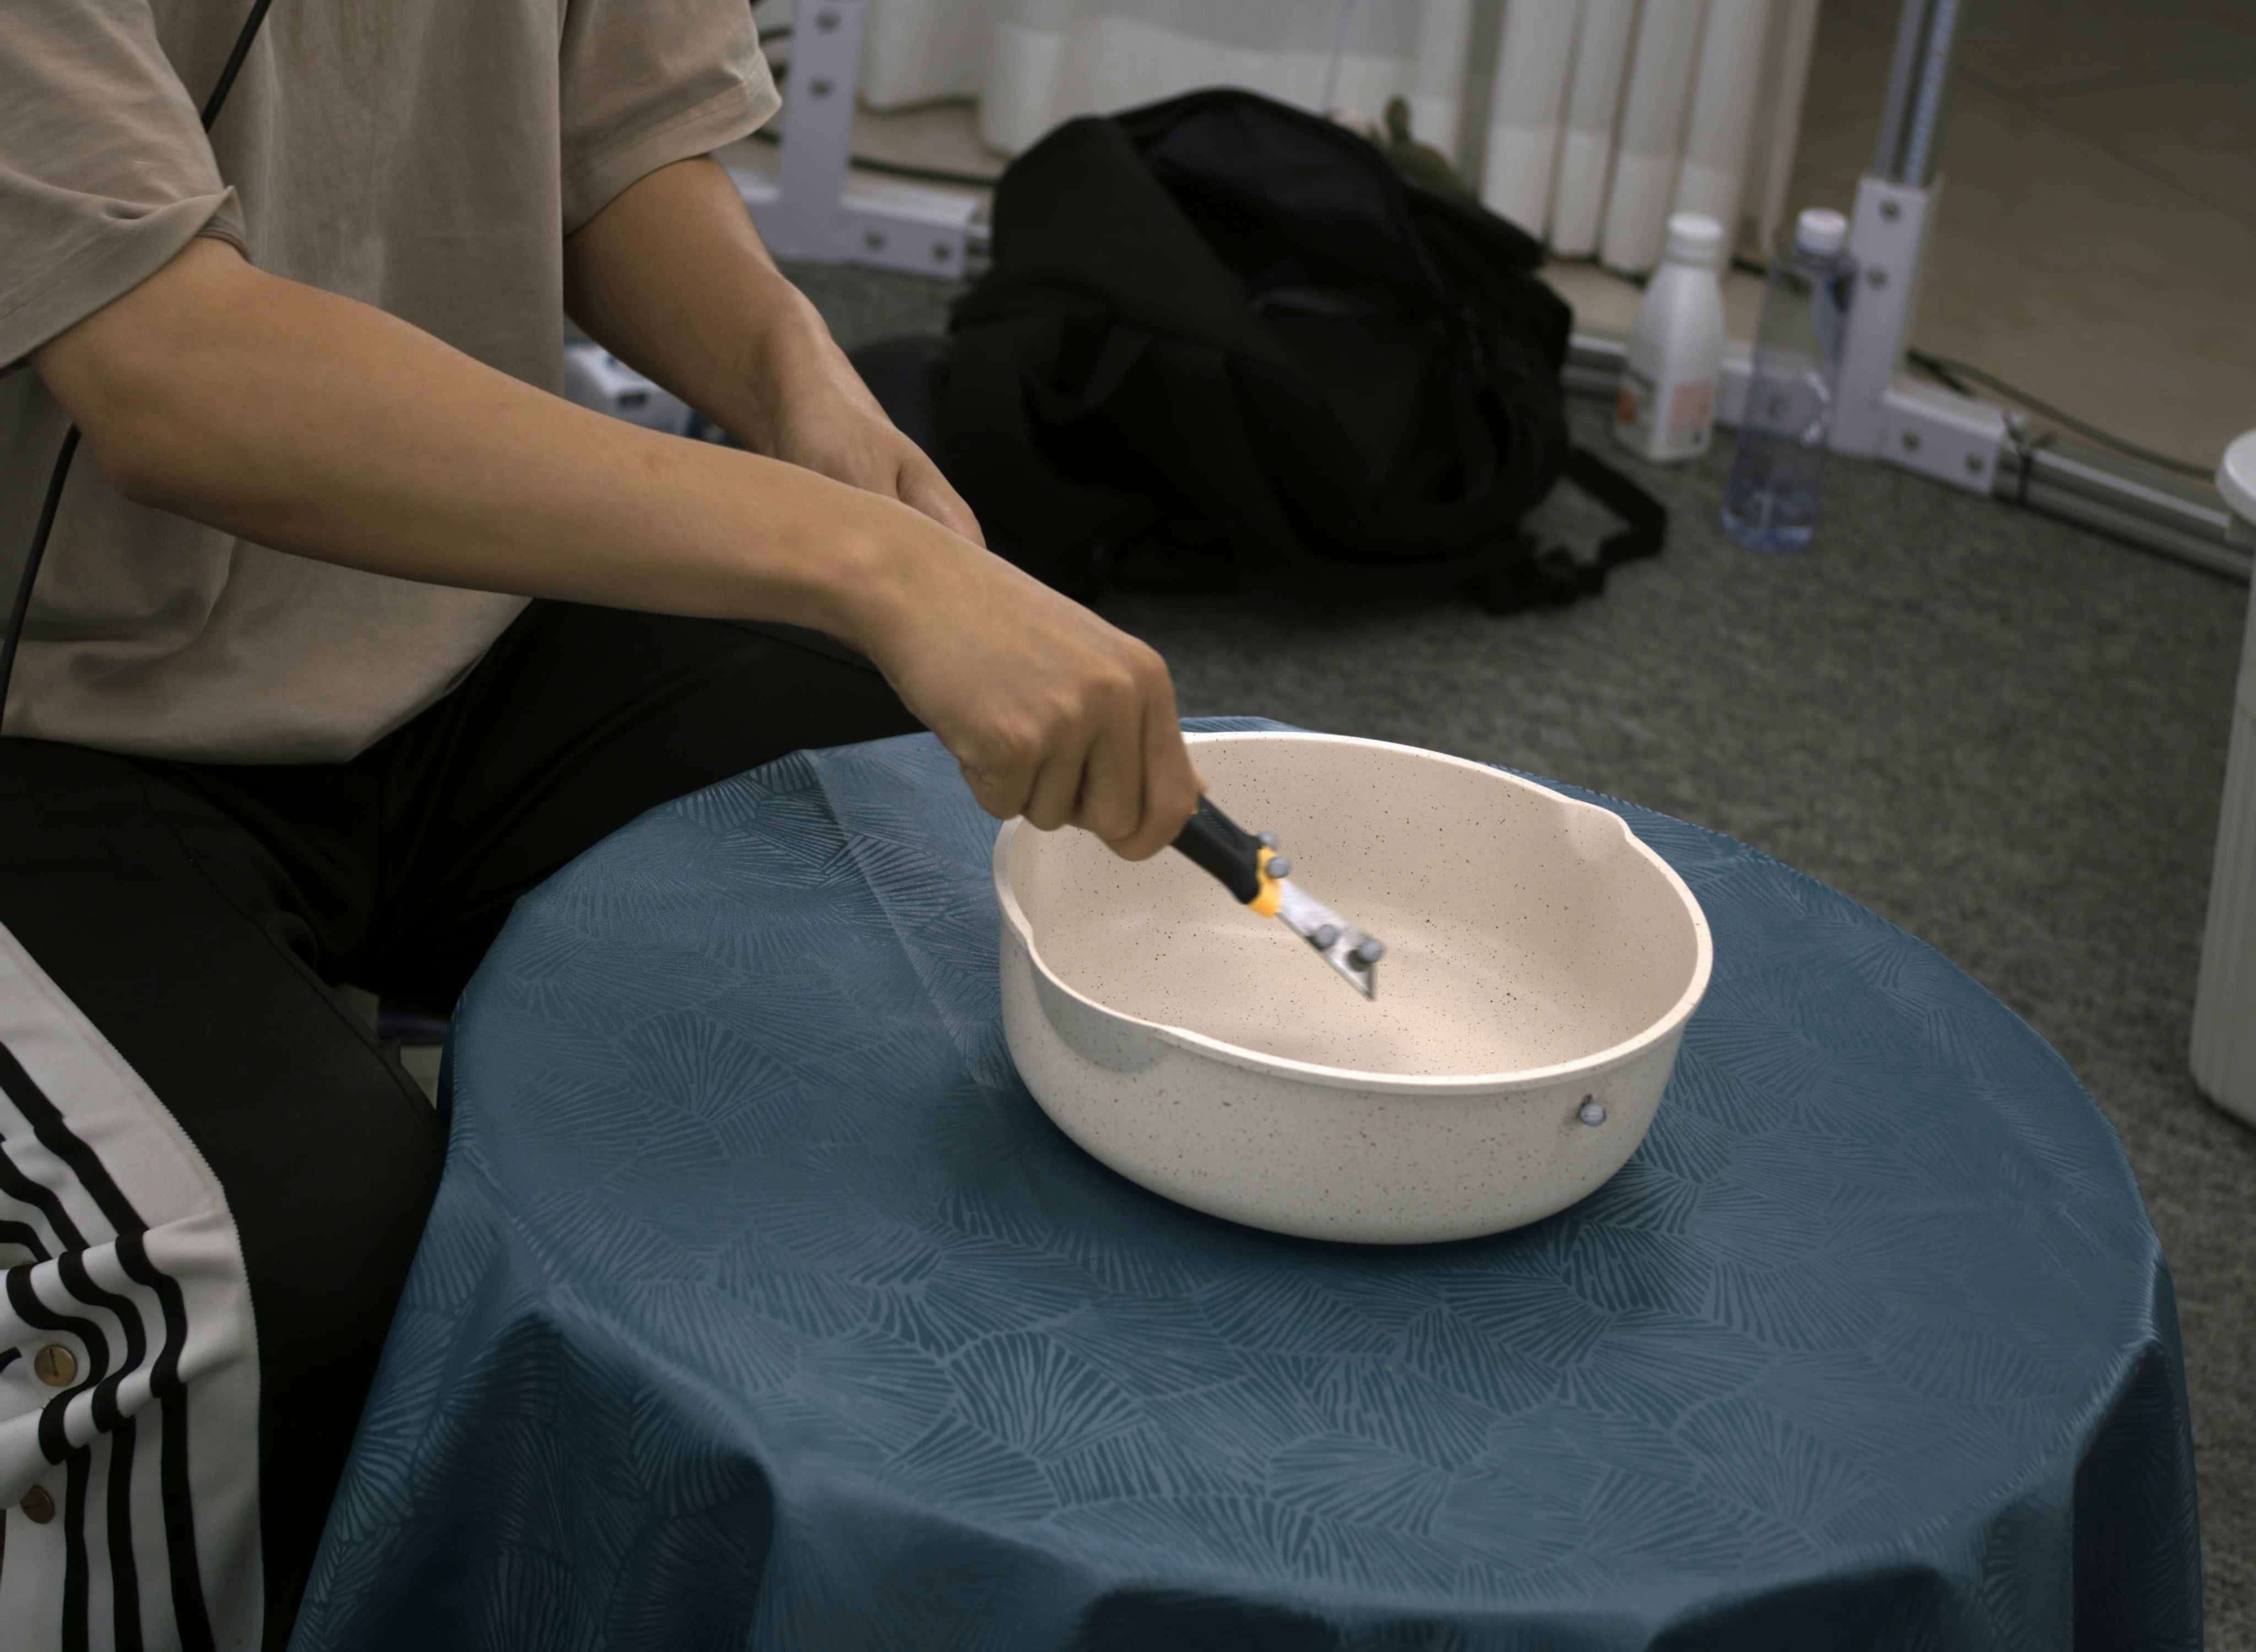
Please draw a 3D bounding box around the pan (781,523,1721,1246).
[{"bbox_3d":[0.017,0.016,1.916,0.262,0.101,0.438,-20,37,-37],"label":"pan"}]

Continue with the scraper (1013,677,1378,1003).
[{"bbox_3d":[0.024,0.004,1.833,0.169,0.015,0.039,38,37,-24],"label":"scraper"}]
